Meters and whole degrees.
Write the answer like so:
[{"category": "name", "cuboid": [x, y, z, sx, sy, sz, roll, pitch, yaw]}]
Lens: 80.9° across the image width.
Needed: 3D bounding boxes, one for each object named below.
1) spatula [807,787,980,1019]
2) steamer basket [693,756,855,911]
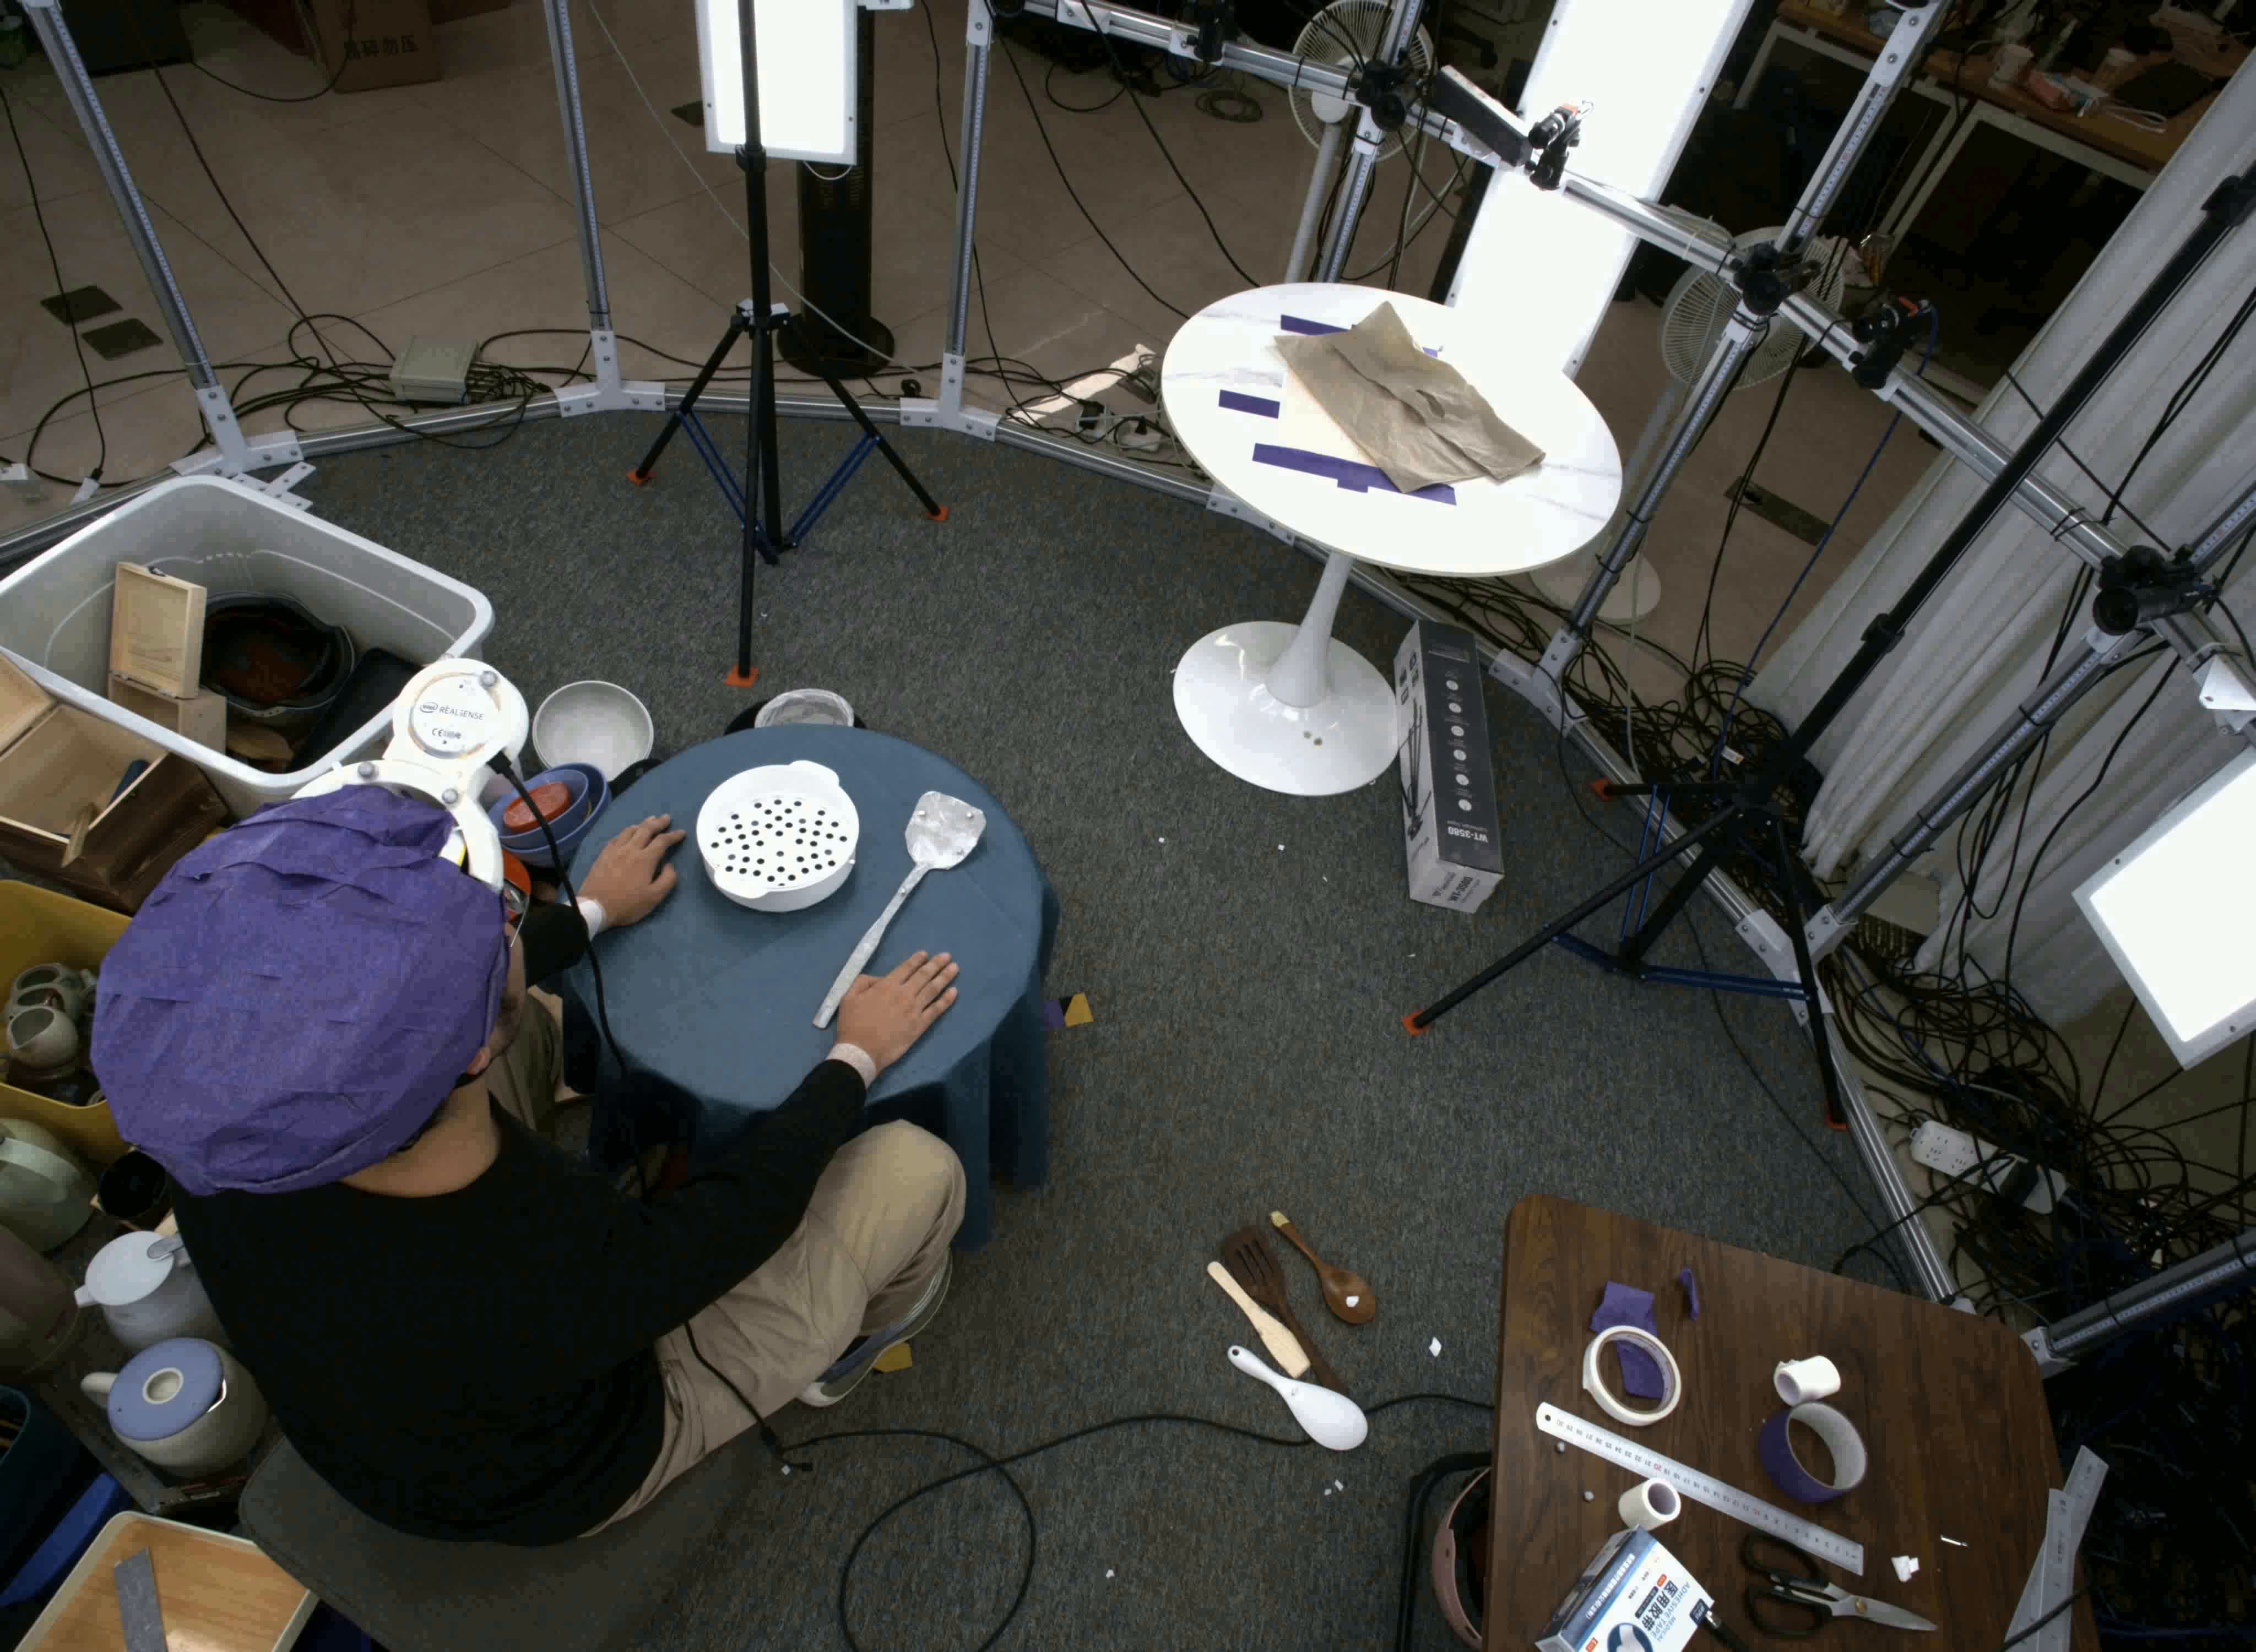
[{"category": "spatula", "cuboid": [-0.305, 0.096, 1.654, 0.098, 0.045, 0.362, 26, 52, 3]}, {"category": "steamer basket", "cuboid": [-0.450, 0.013, 1.657, 0.199, 0.070, 0.228, 21, 53, 3]}]
